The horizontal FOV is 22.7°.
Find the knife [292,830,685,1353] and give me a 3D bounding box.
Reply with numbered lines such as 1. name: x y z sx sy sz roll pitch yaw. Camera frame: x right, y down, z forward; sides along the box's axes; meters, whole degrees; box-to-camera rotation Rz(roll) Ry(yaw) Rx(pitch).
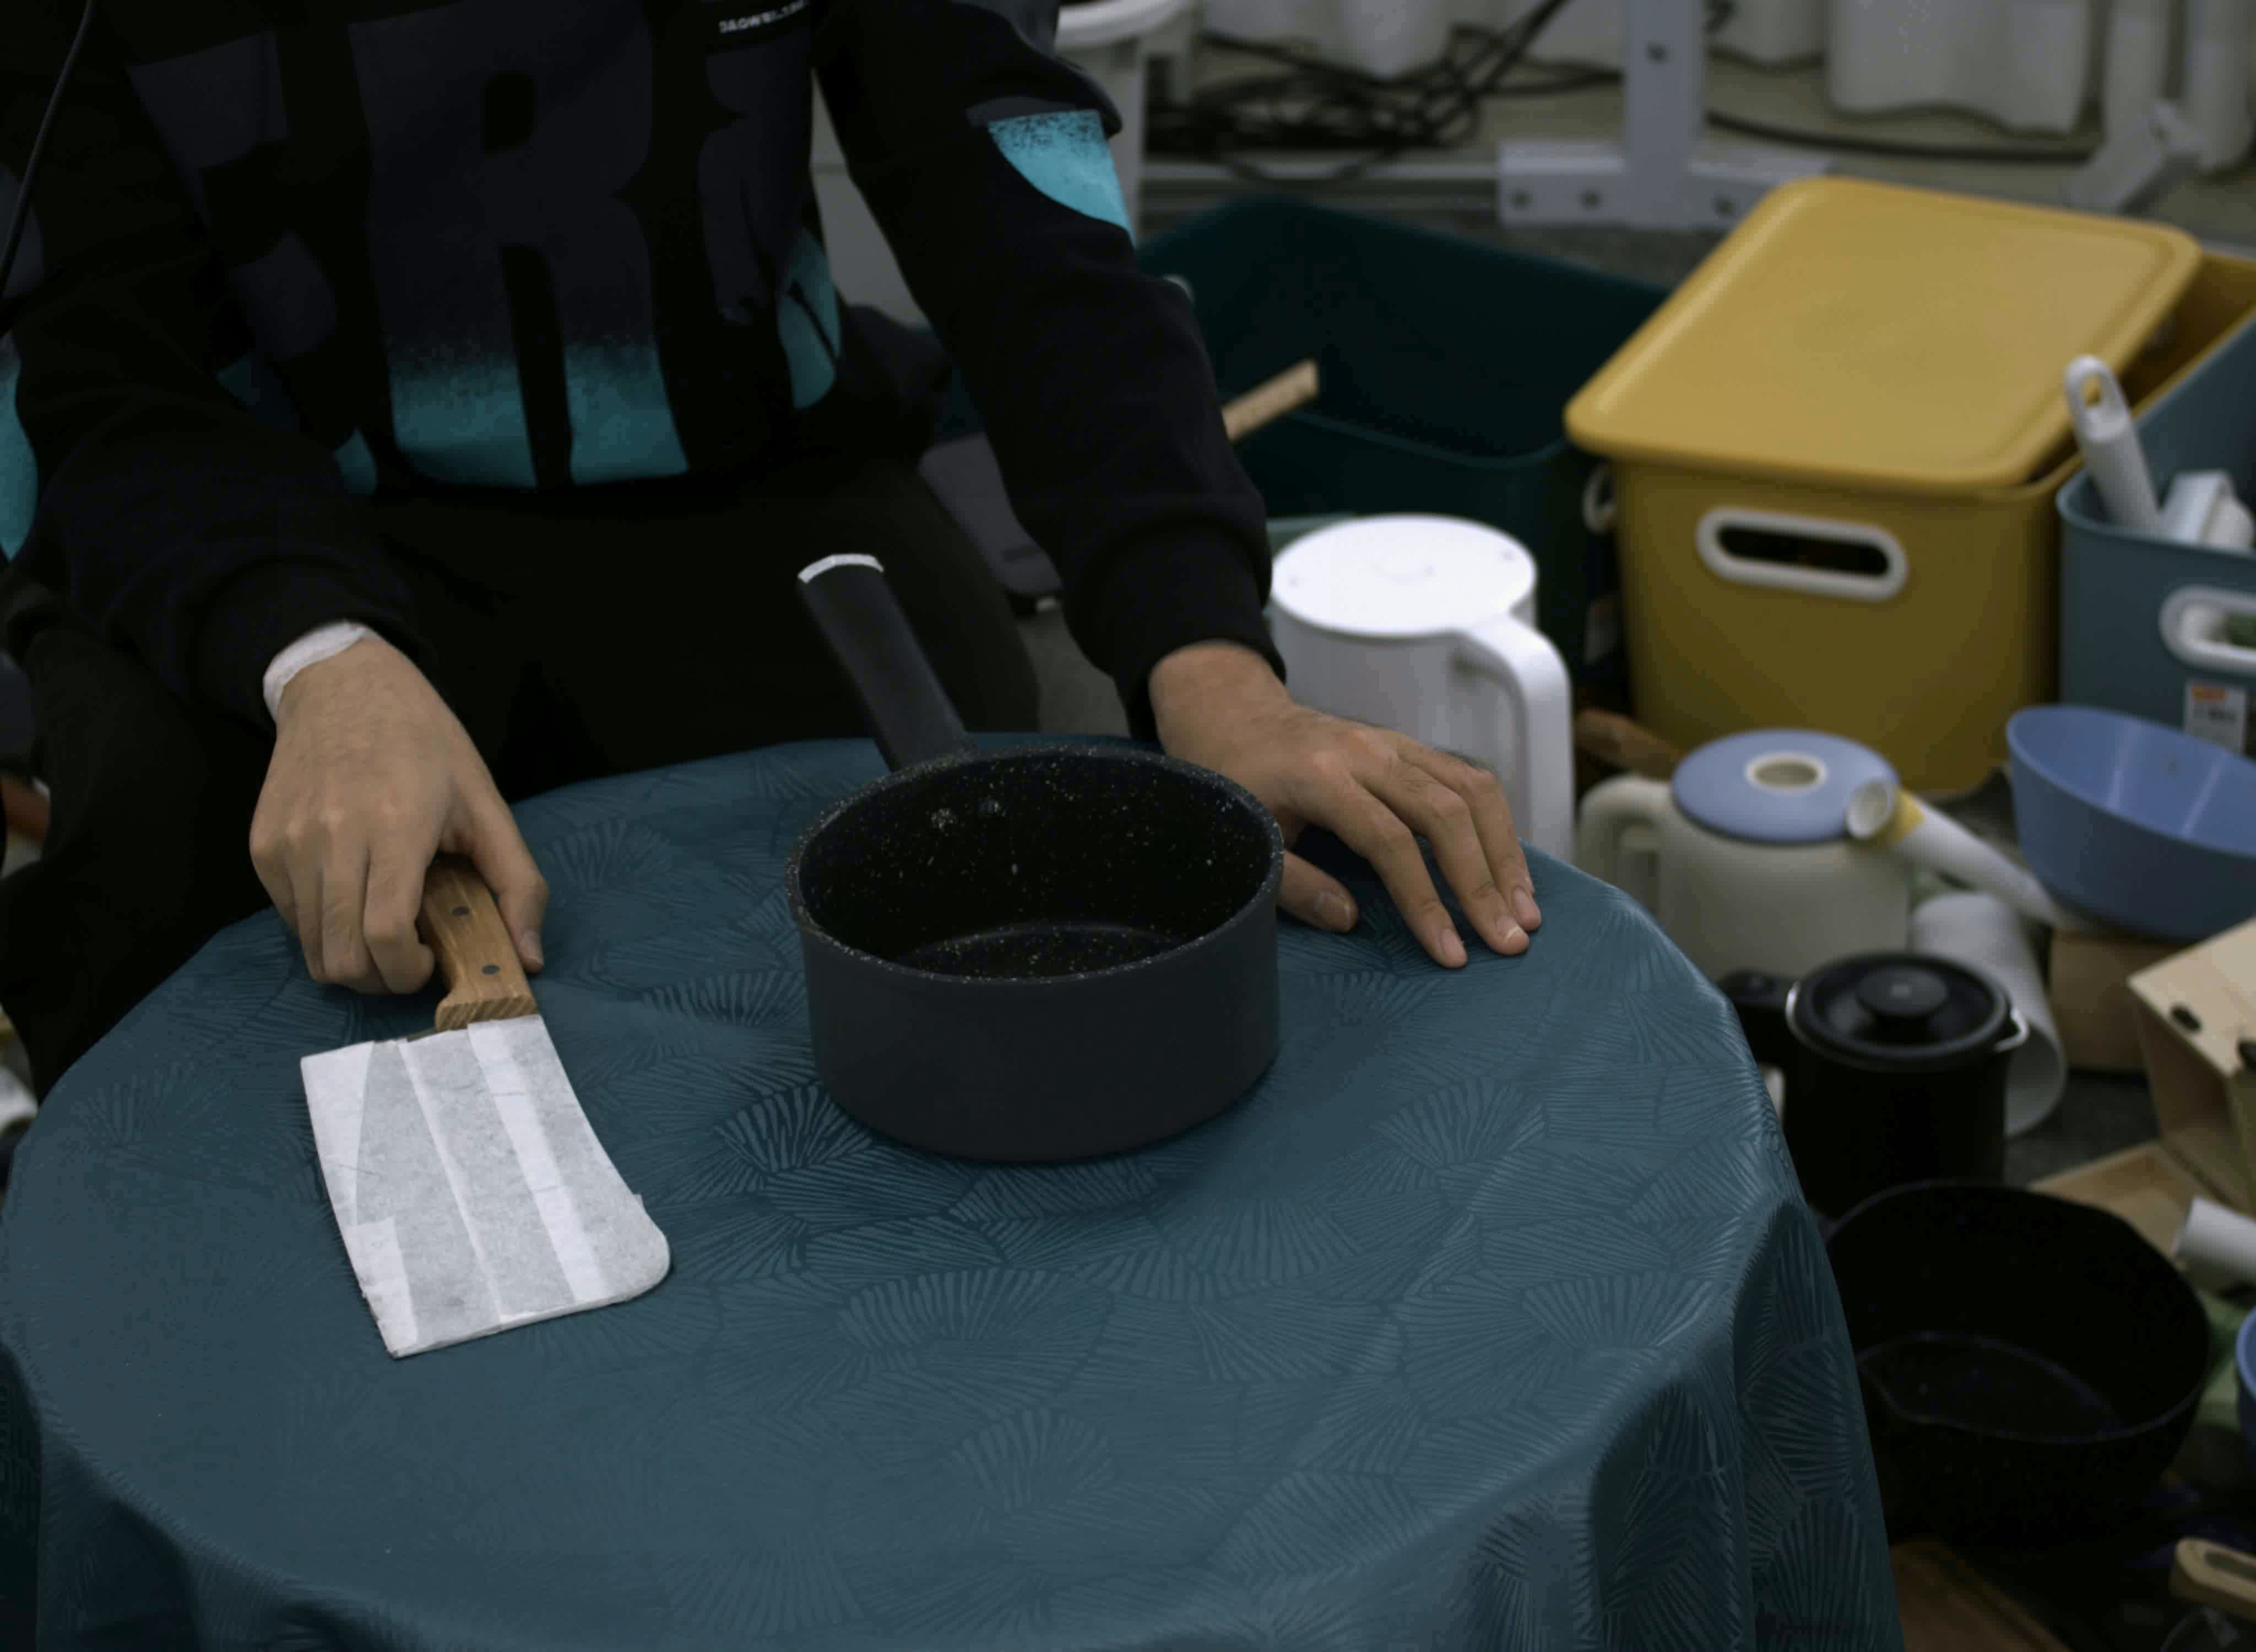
1. knife: -0.229 0.087 1.932 0.114 0.021 0.319 -9 31 -11

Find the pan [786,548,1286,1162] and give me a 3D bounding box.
1. pan: -0.053 0.007 1.998 0.172 0.085 0.332 -8 29 -14
